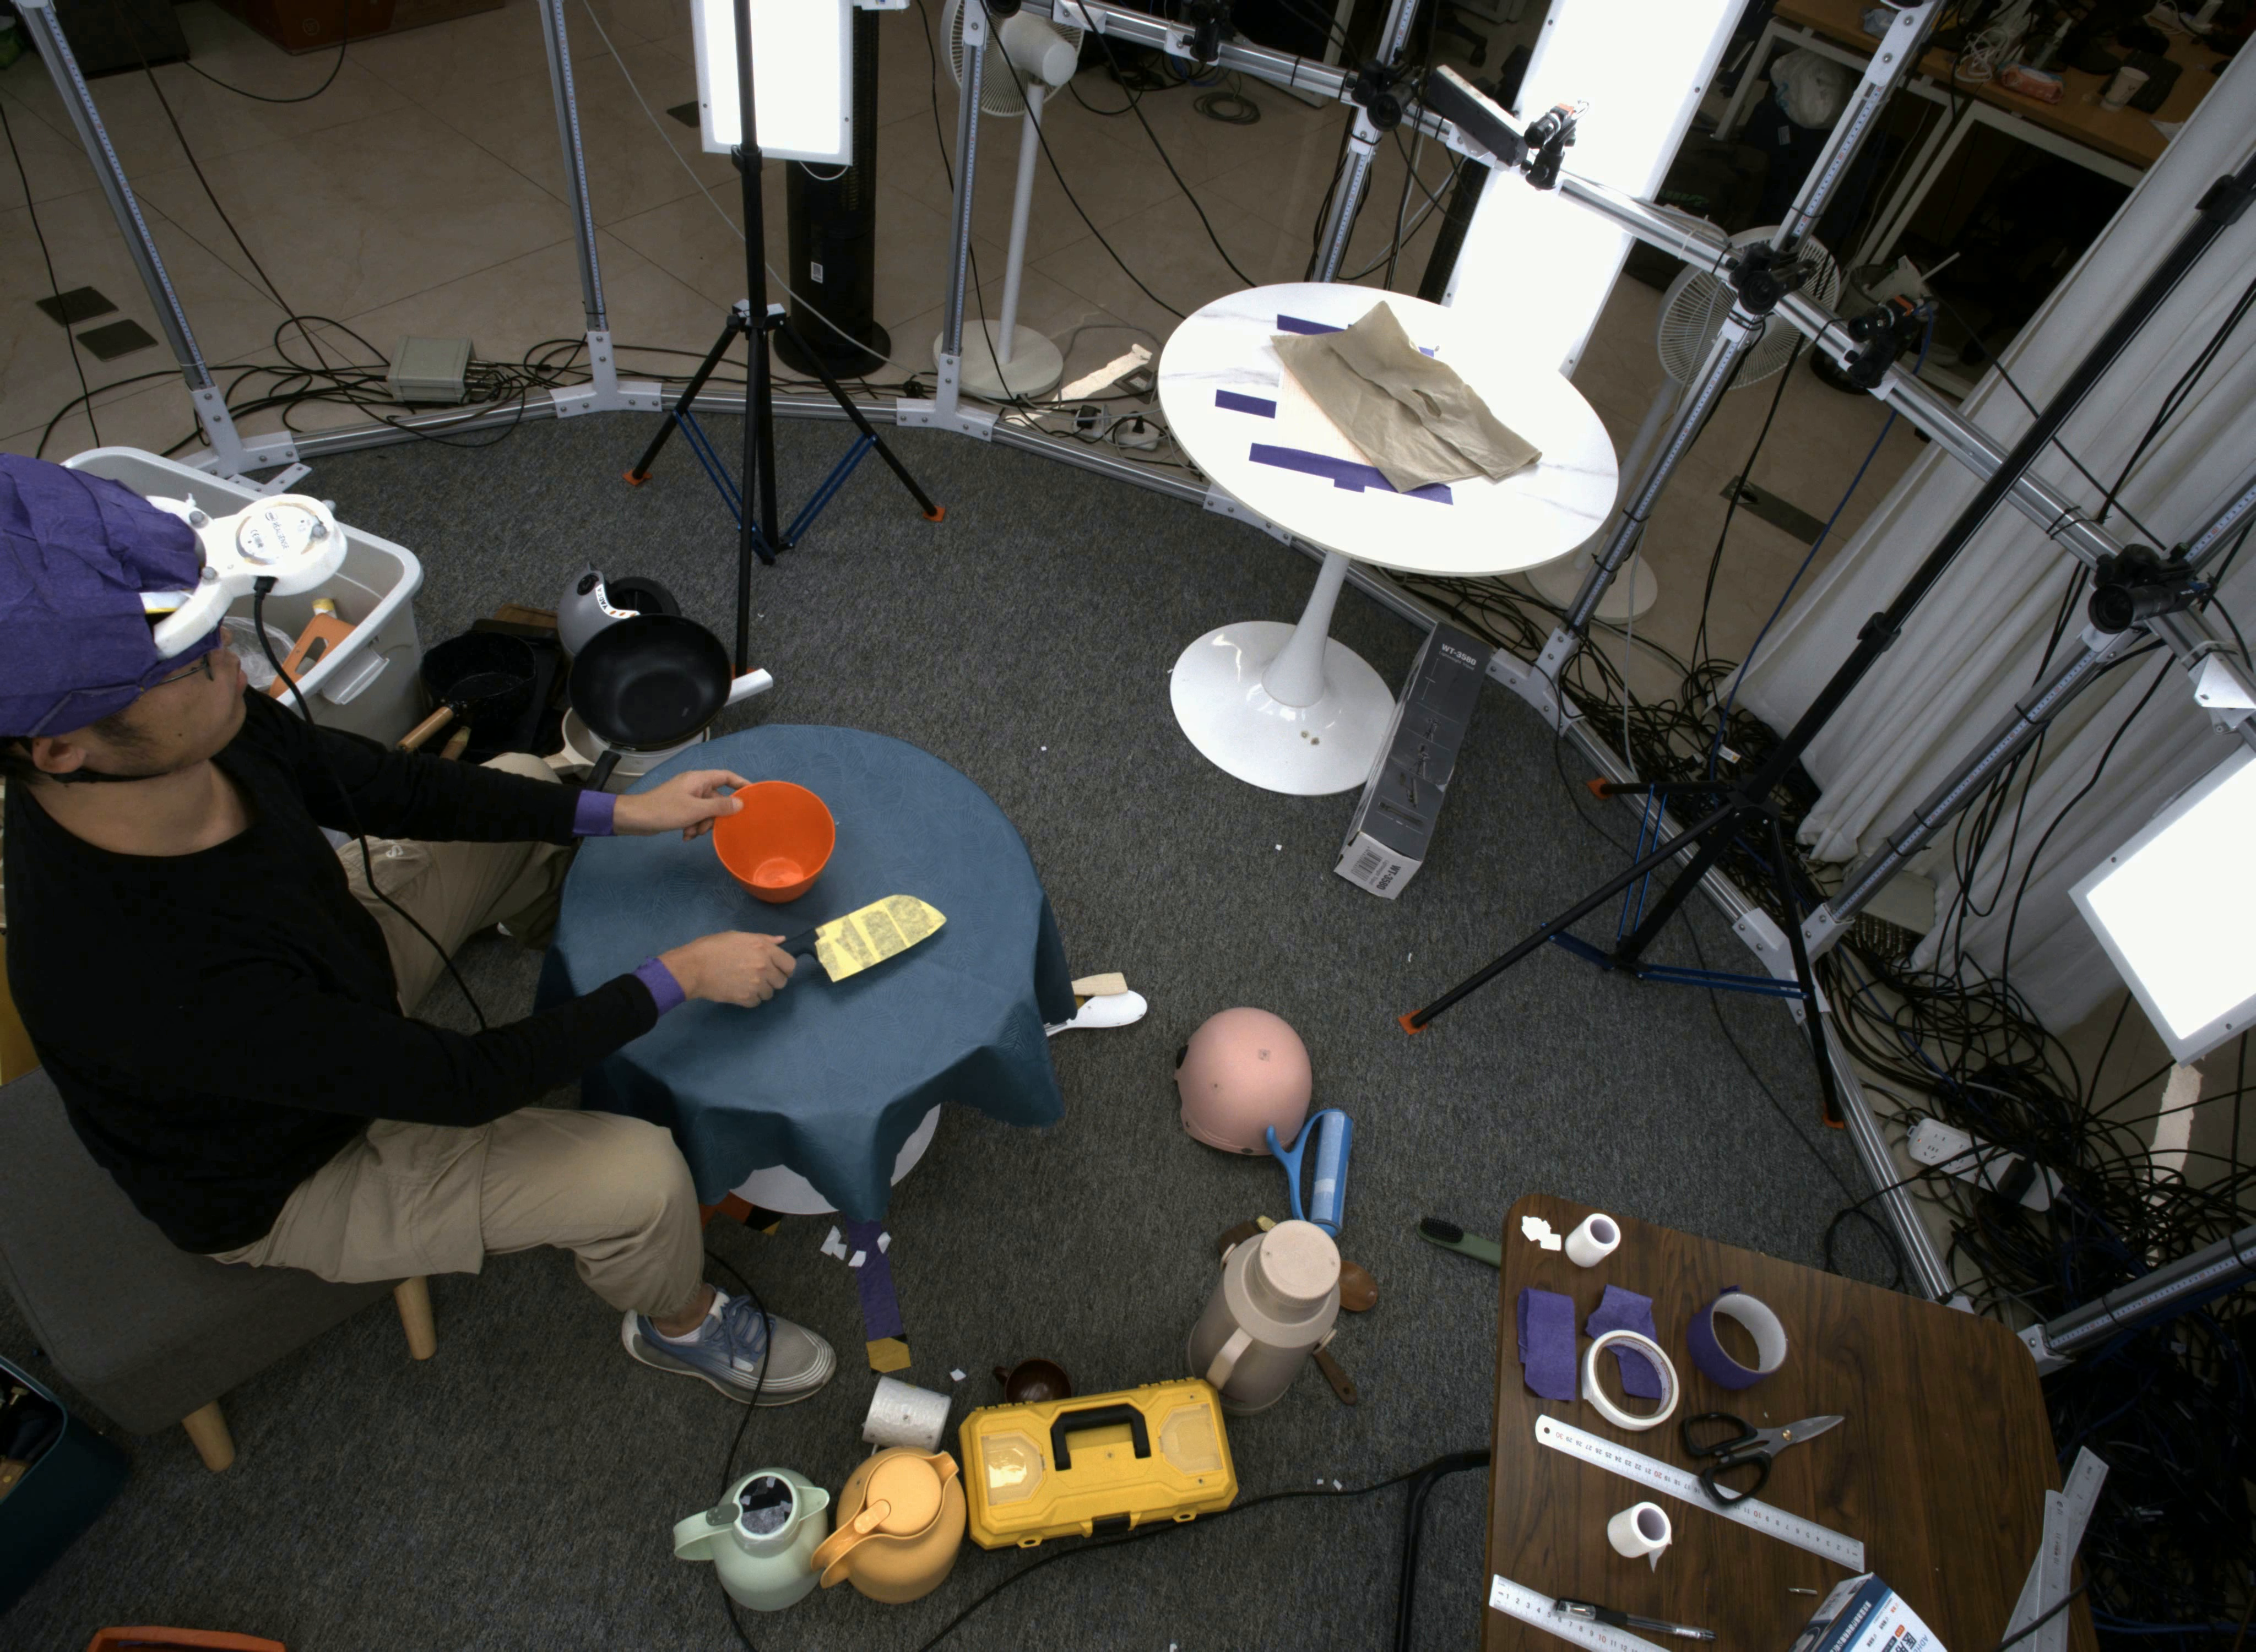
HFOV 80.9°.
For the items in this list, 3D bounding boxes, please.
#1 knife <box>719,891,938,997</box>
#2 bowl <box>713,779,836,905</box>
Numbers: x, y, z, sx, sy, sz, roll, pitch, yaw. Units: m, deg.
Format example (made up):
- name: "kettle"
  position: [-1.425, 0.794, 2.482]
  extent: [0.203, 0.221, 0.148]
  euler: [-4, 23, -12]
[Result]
- name: "knife"
  position: [-0.357, 0.148, 1.580]
  extent: [0.291, 0.027, 0.080]
  euler: [-23, 74, -31]
- name: "bowl"
  position: [-0.442, 0.031, 1.628]
  extent: [0.148, 0.106, 0.145]
  euler: [8, 52, -9]
